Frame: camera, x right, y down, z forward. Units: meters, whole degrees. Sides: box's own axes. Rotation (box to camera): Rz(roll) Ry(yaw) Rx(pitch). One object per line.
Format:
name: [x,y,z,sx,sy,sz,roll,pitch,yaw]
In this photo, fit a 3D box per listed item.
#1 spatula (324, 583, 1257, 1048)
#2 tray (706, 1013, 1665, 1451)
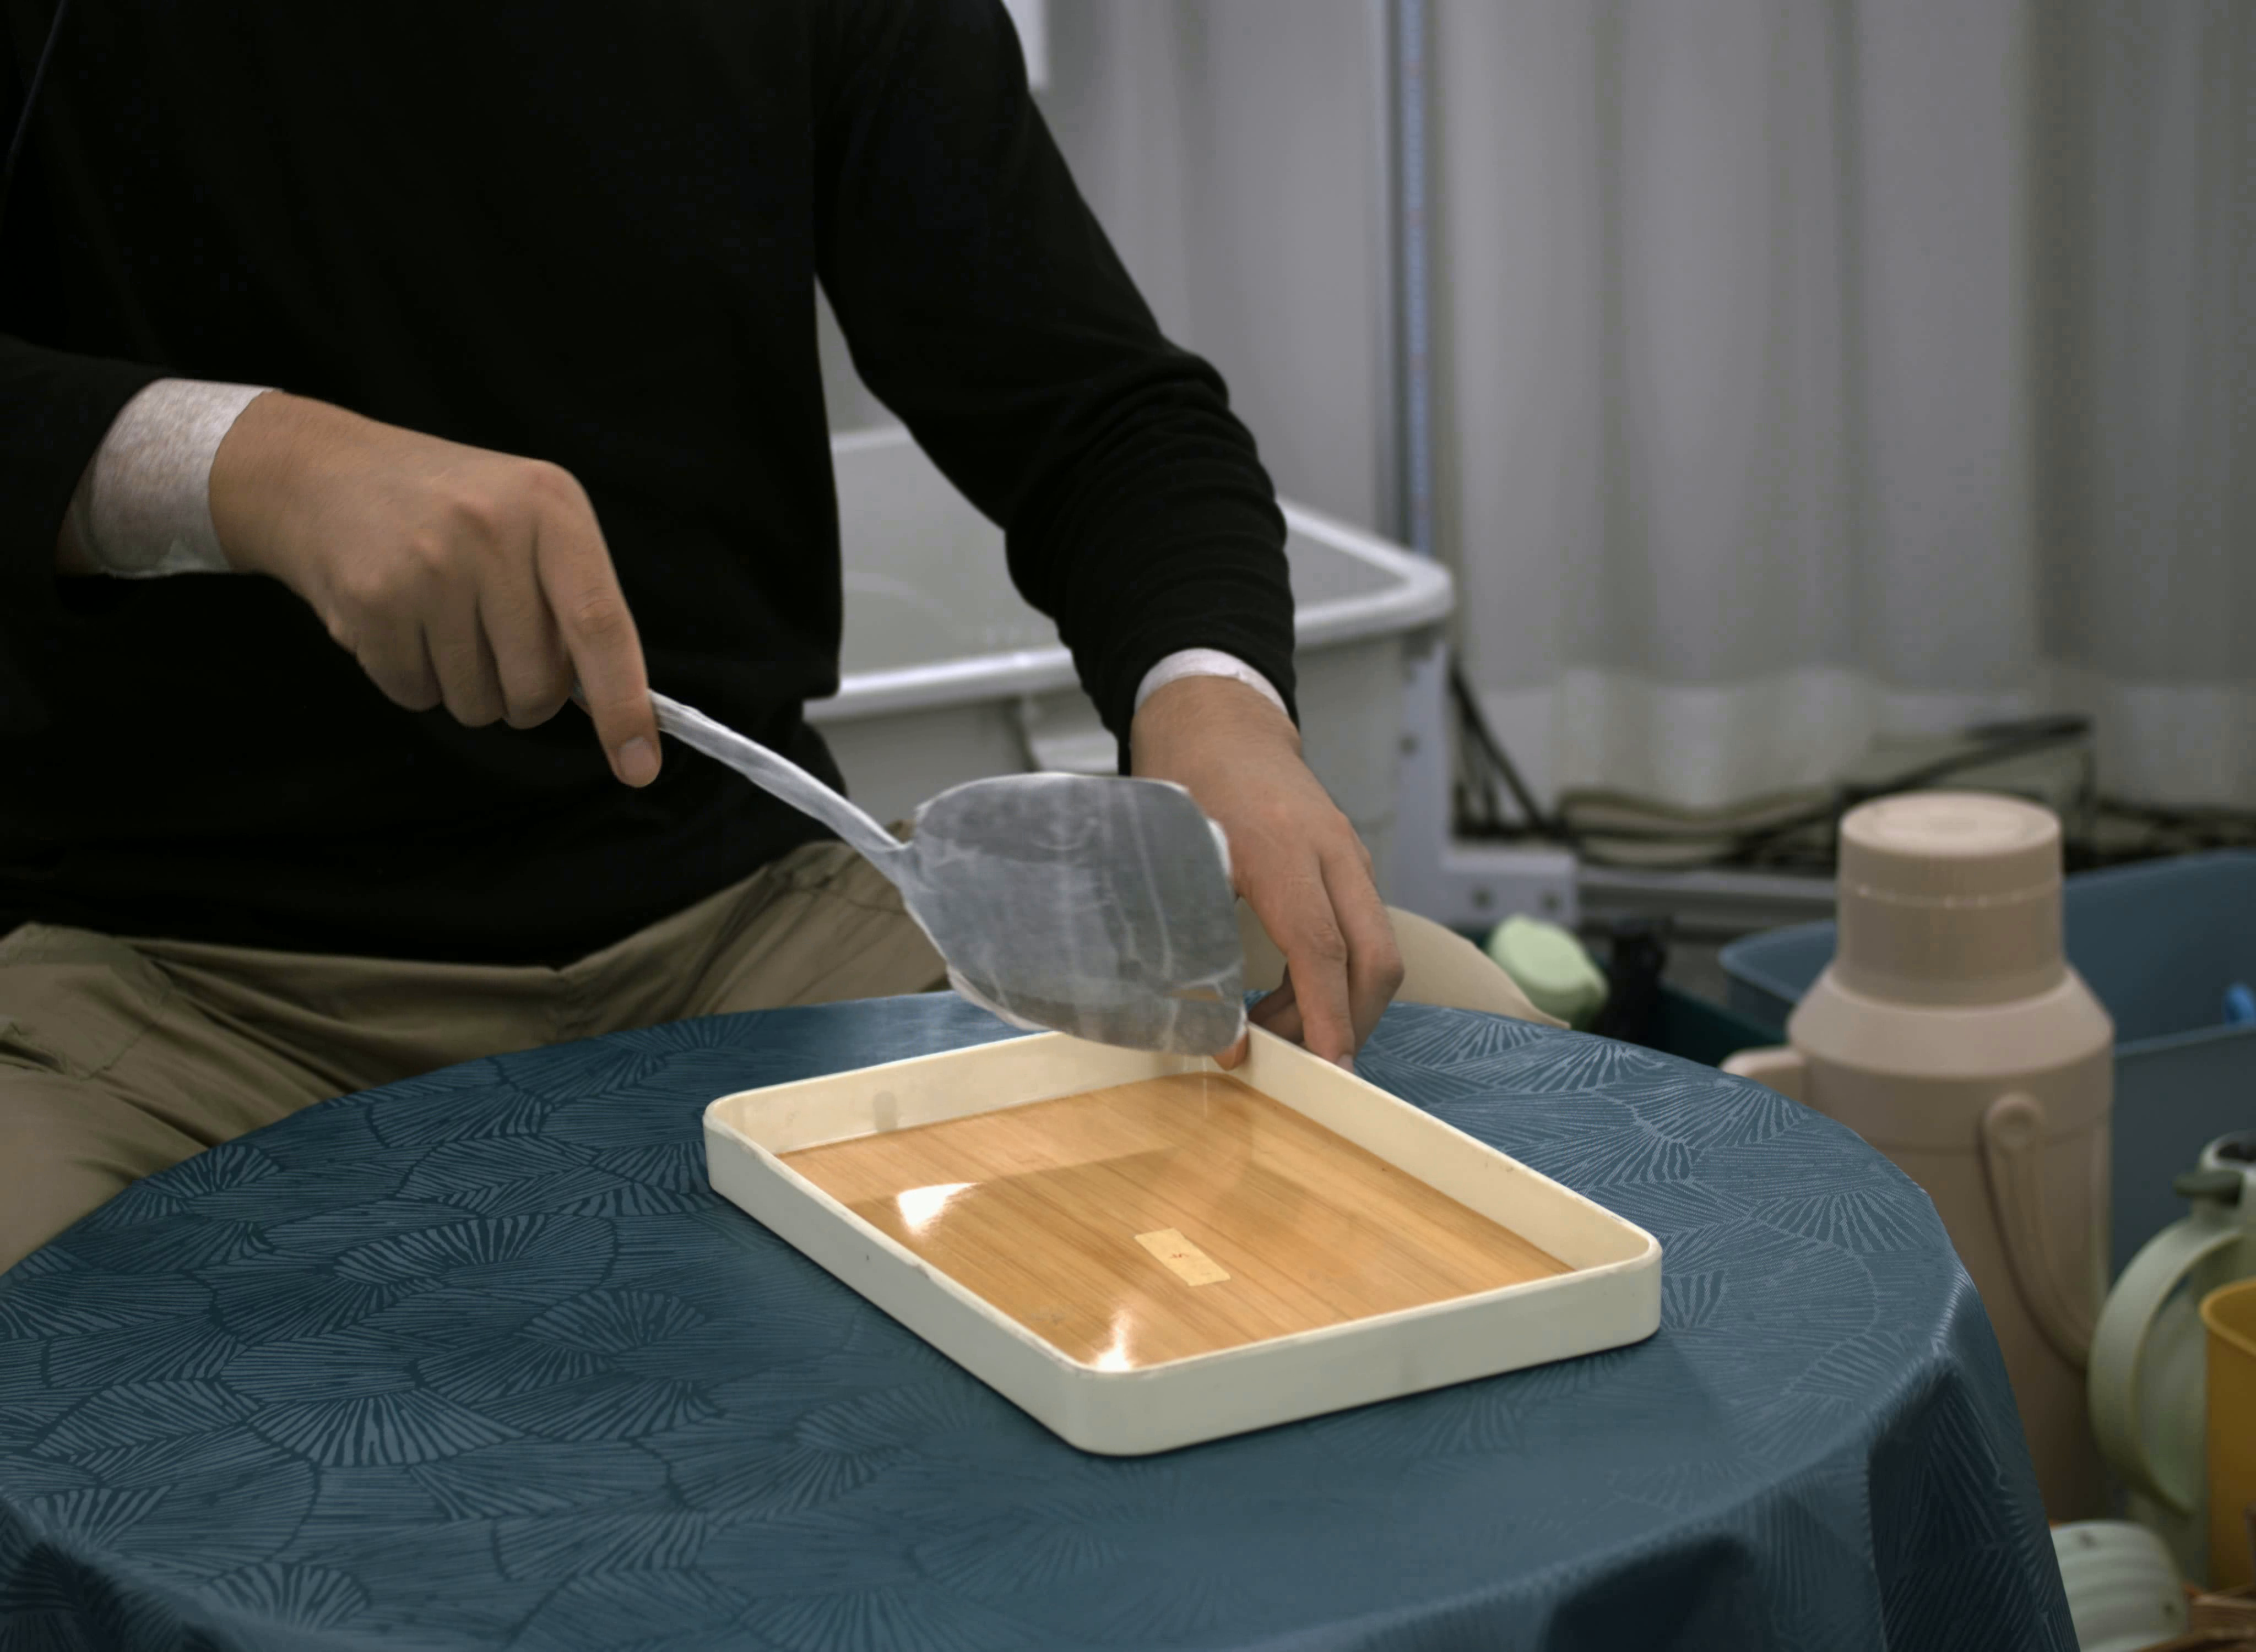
spatula: [-0.110,-0.021,1.605,0.368,0.097,0.045,25,50,39]
tray: [0.010,0.117,1.651,0.191,0.027,0.302,-10,16,-24]
